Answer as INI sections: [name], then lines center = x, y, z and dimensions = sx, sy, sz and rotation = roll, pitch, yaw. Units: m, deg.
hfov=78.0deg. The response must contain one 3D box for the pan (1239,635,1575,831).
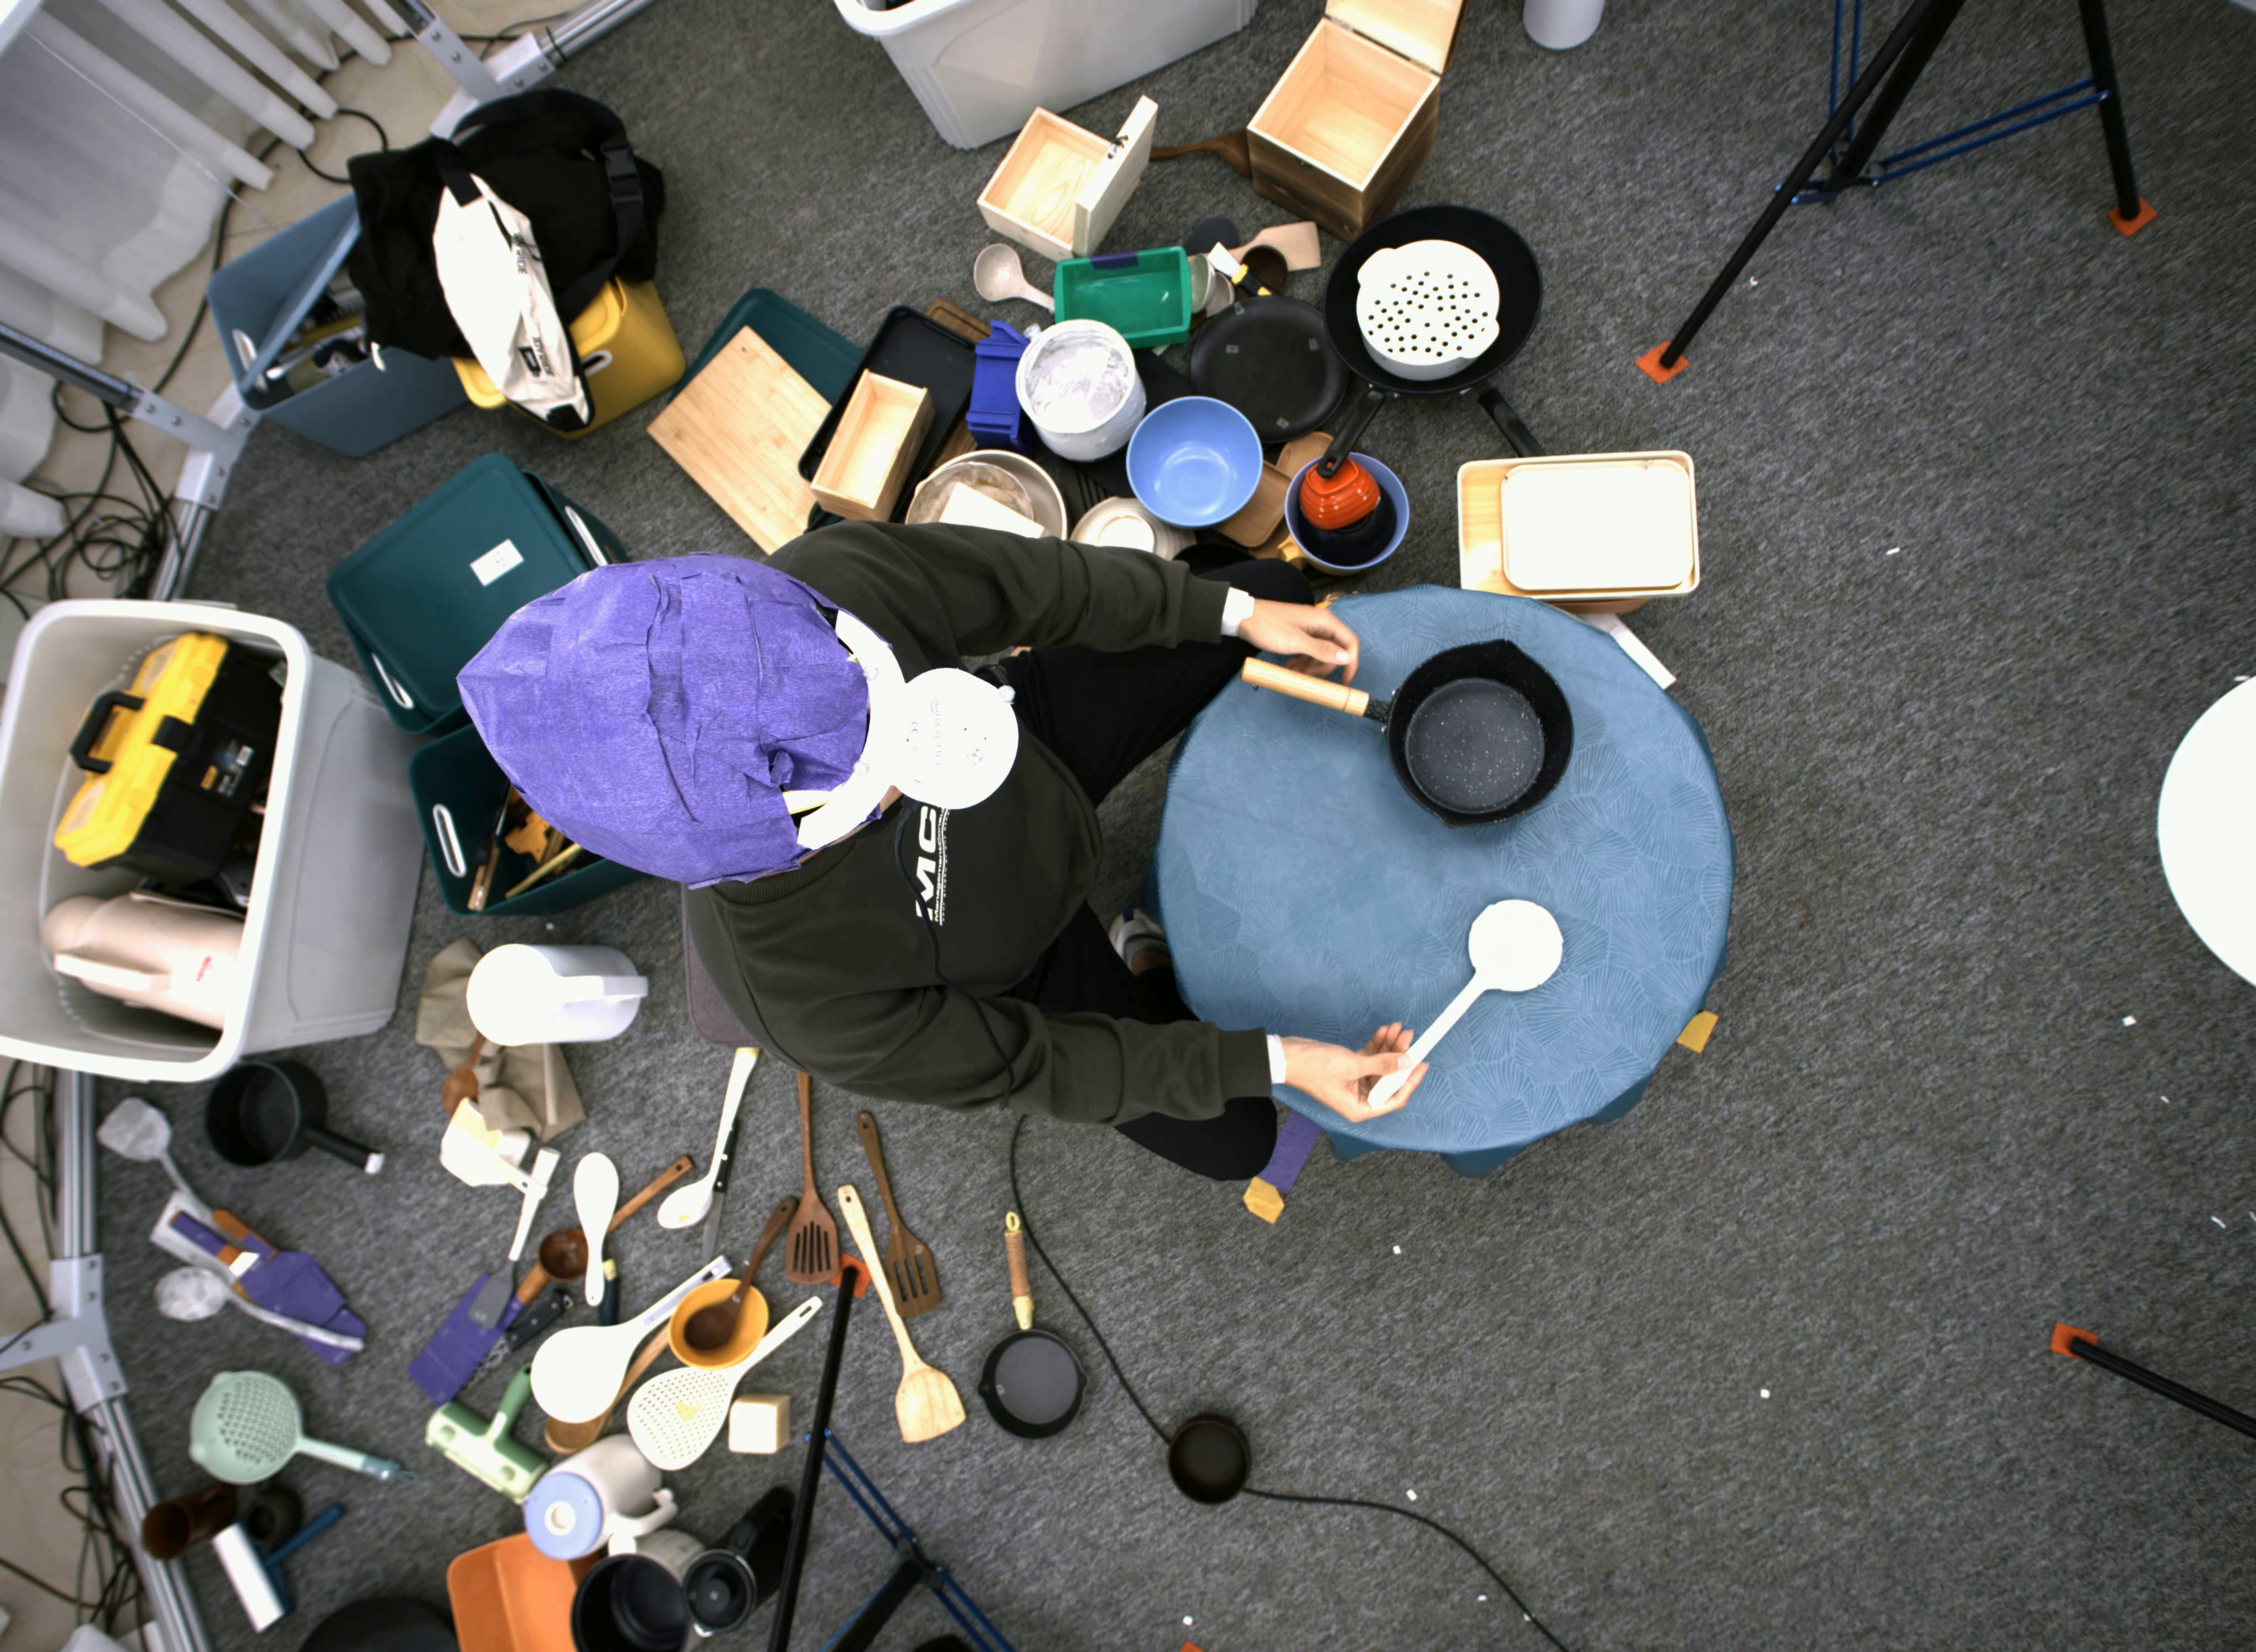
[pan]
center = 0.281, -0.112, 1.414
dimensions = 0.343, 0.108, 0.207
rotation = 15, 90, 10

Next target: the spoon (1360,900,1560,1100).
[spoon]
center = 0.324, 0.170, 1.372
dimensions = 0.272, 0.061, 0.100
rotation = -36, 71, -27
